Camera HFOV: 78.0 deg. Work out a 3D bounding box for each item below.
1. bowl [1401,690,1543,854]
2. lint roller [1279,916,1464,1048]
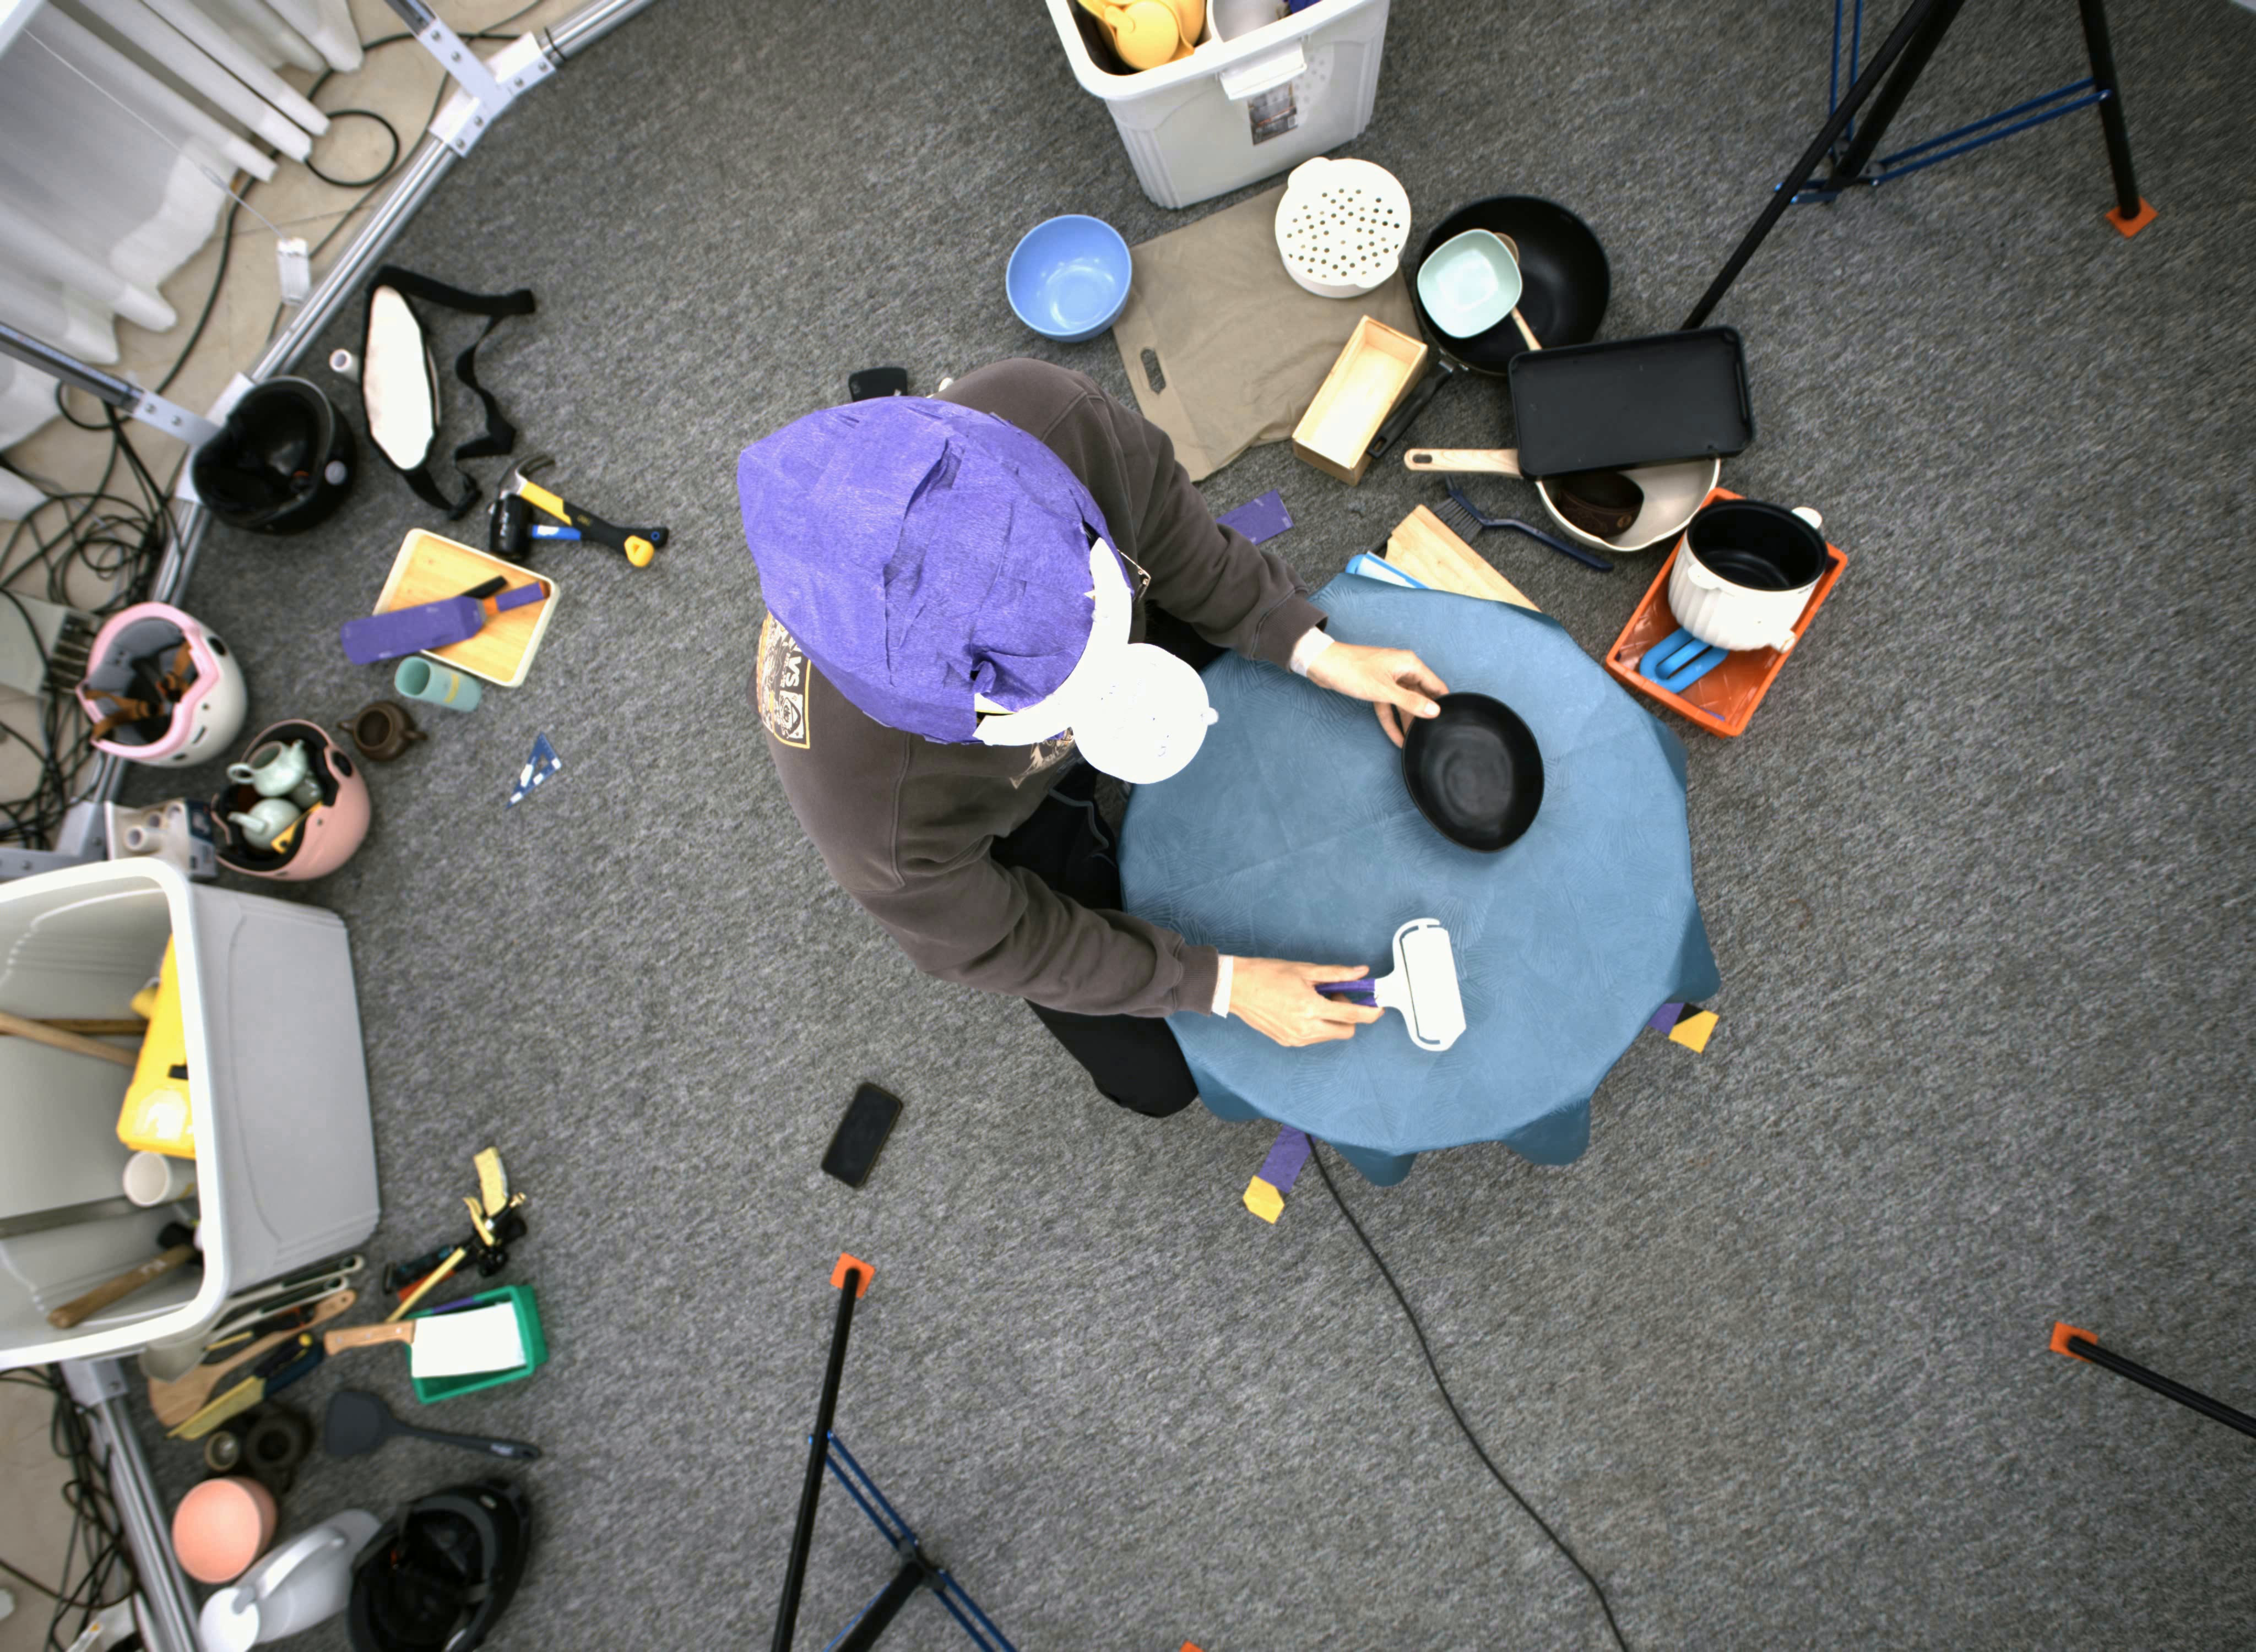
[{"bbox_3d":[0.354,-0.057,1.416,0.138,0.066,0.169,-23,85,9],"label":"bowl"},{"bbox_3d":[0.243,0.165,1.395,0.181,0.050,0.132,-9,89,1],"label":"lint roller"}]
